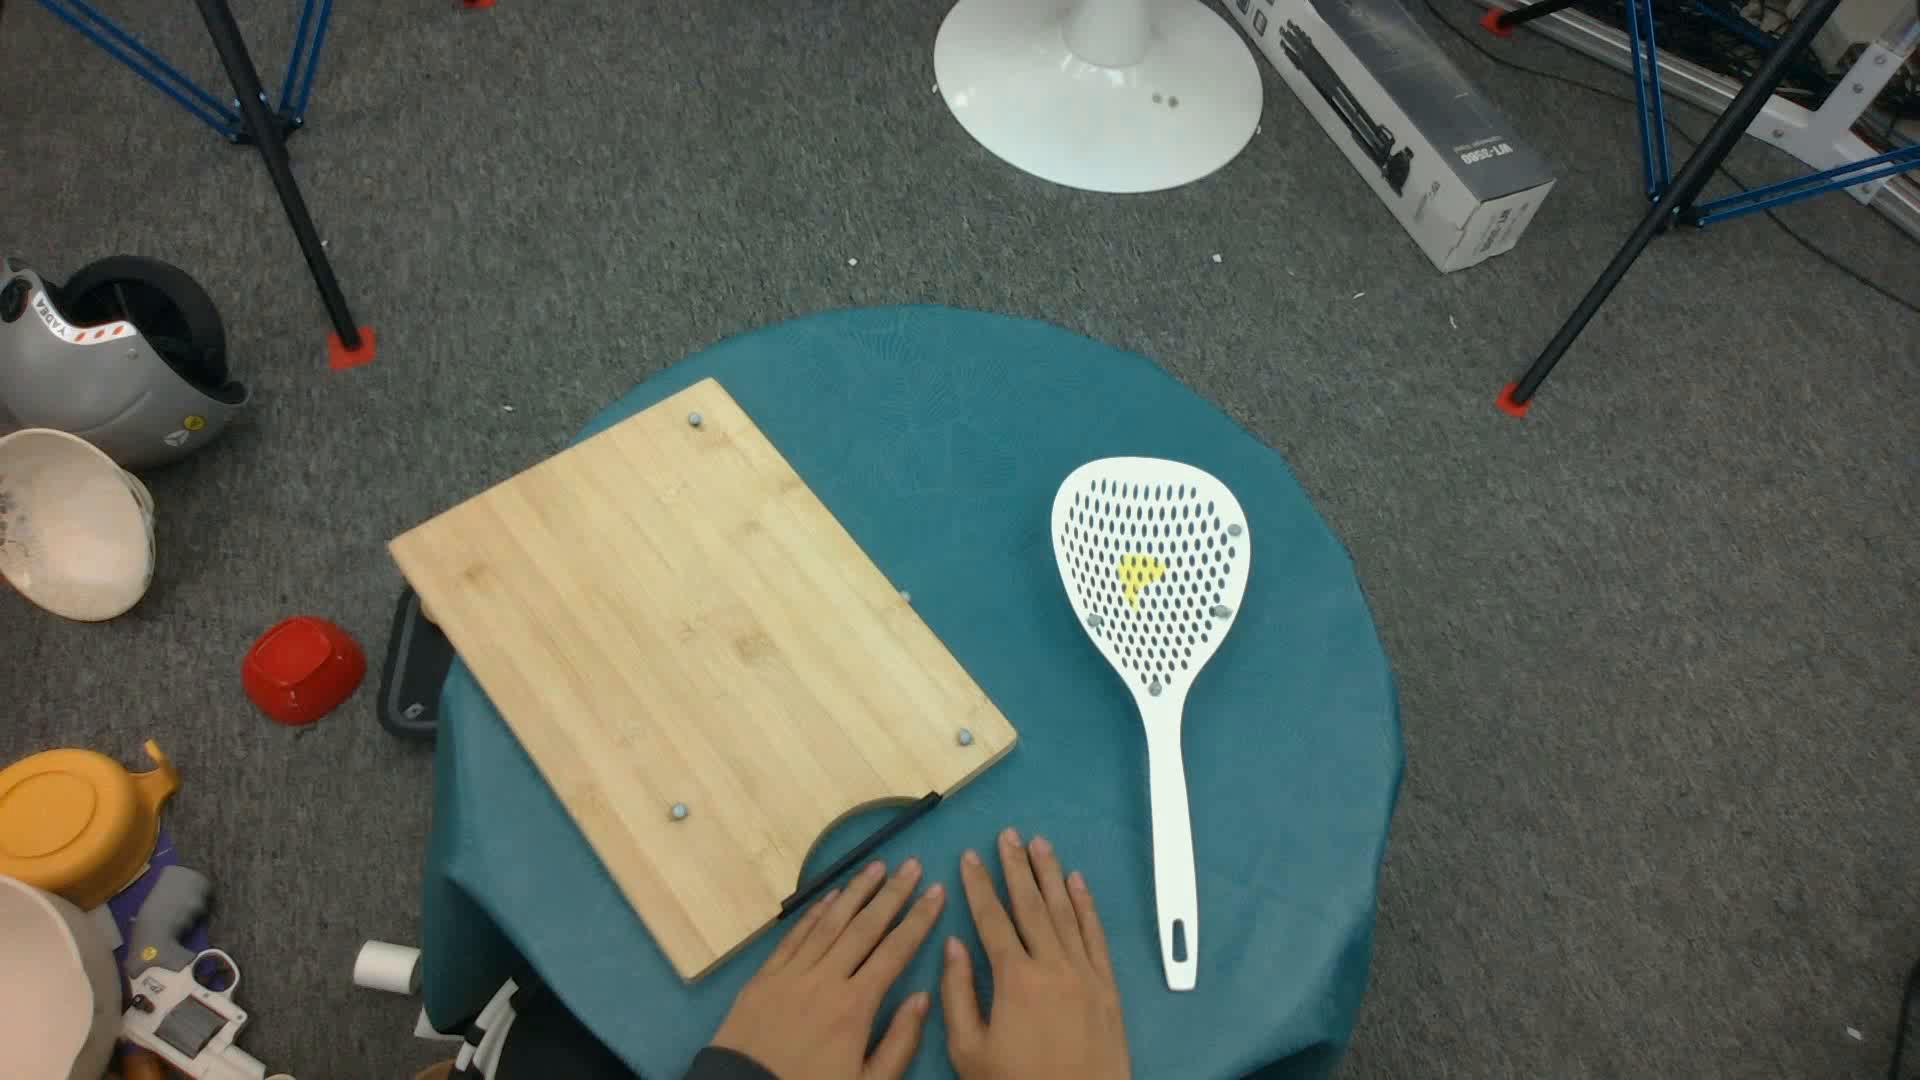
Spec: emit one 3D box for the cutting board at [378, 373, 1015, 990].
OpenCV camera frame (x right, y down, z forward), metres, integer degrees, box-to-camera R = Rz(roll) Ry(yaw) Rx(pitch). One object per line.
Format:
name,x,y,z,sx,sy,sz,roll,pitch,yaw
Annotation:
cutting board,-0.166,0.063,0.859,0.251,0.023,0.349,-34,68,-24

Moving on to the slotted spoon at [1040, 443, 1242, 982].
slotted spoon,0.120,0.094,0.865,0.137,0.050,0.349,3,58,-9
